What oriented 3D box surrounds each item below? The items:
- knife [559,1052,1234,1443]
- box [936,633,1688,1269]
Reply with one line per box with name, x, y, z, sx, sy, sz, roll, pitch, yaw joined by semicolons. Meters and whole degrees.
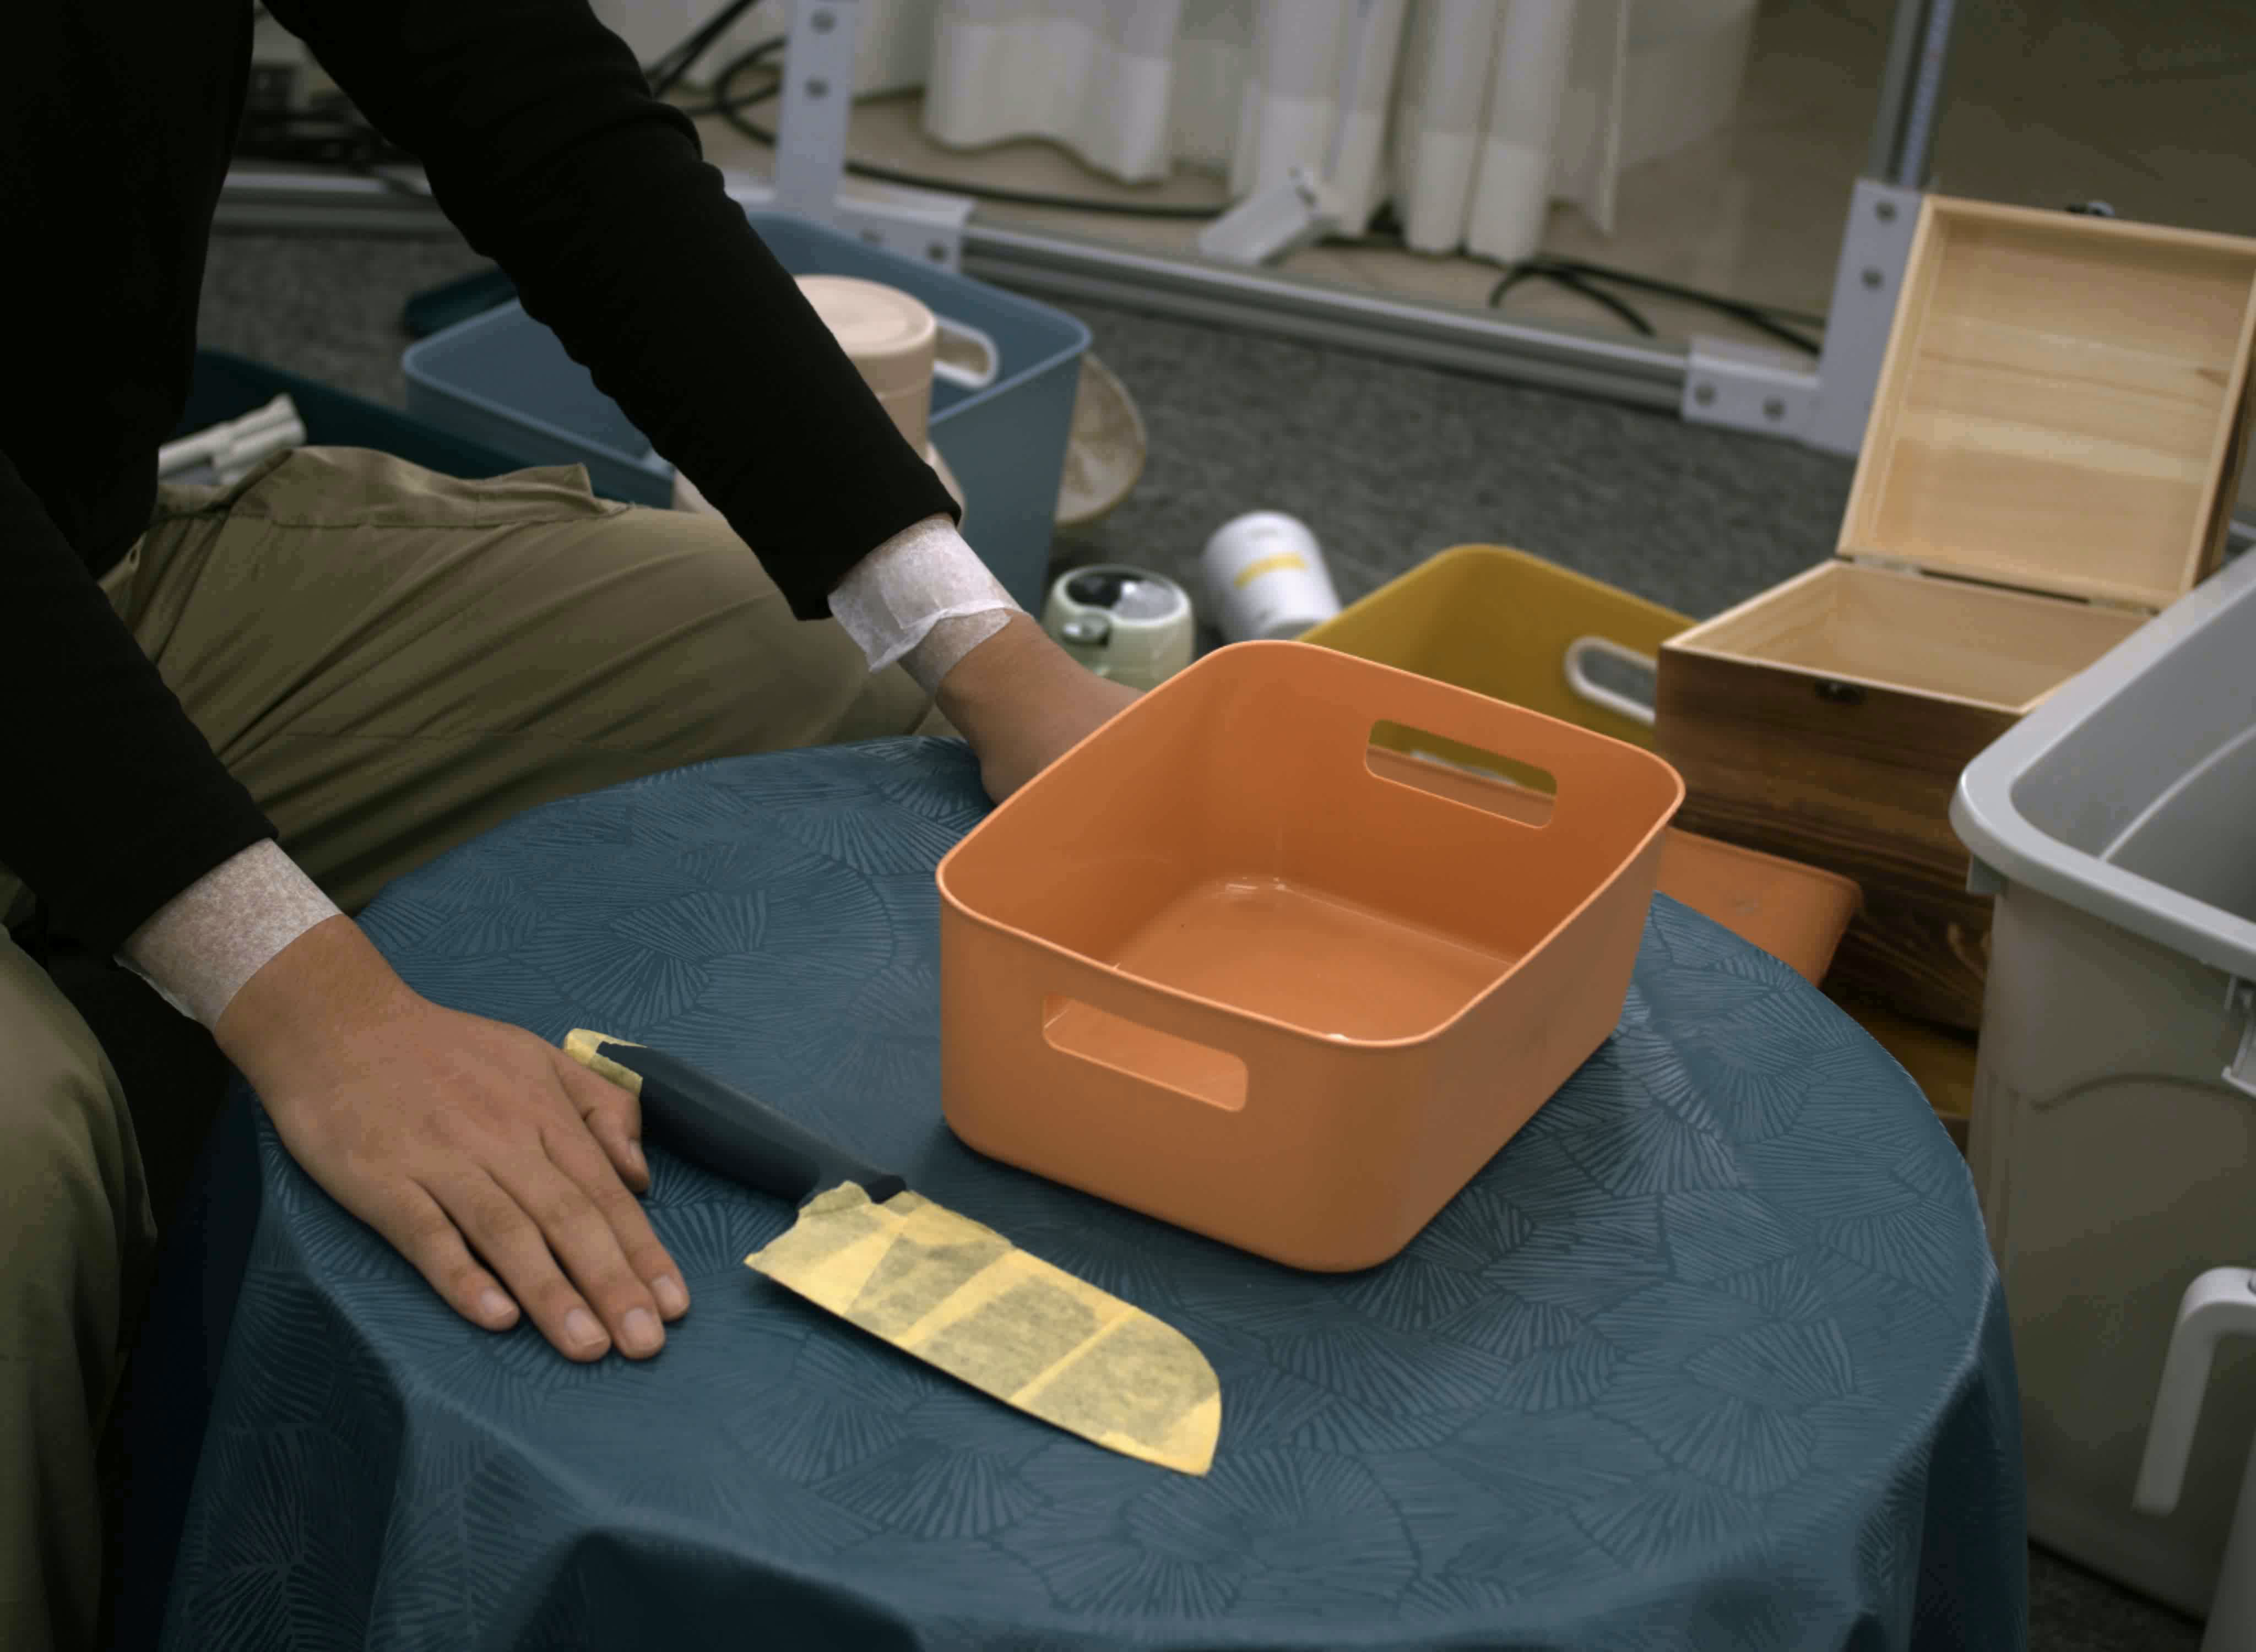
knife;-0.083;0.139;1.738;0.291;0.027;0.081;25;30;30
box;0.061;0.042;1.861;0.200;0.102;0.273;19;30;21
